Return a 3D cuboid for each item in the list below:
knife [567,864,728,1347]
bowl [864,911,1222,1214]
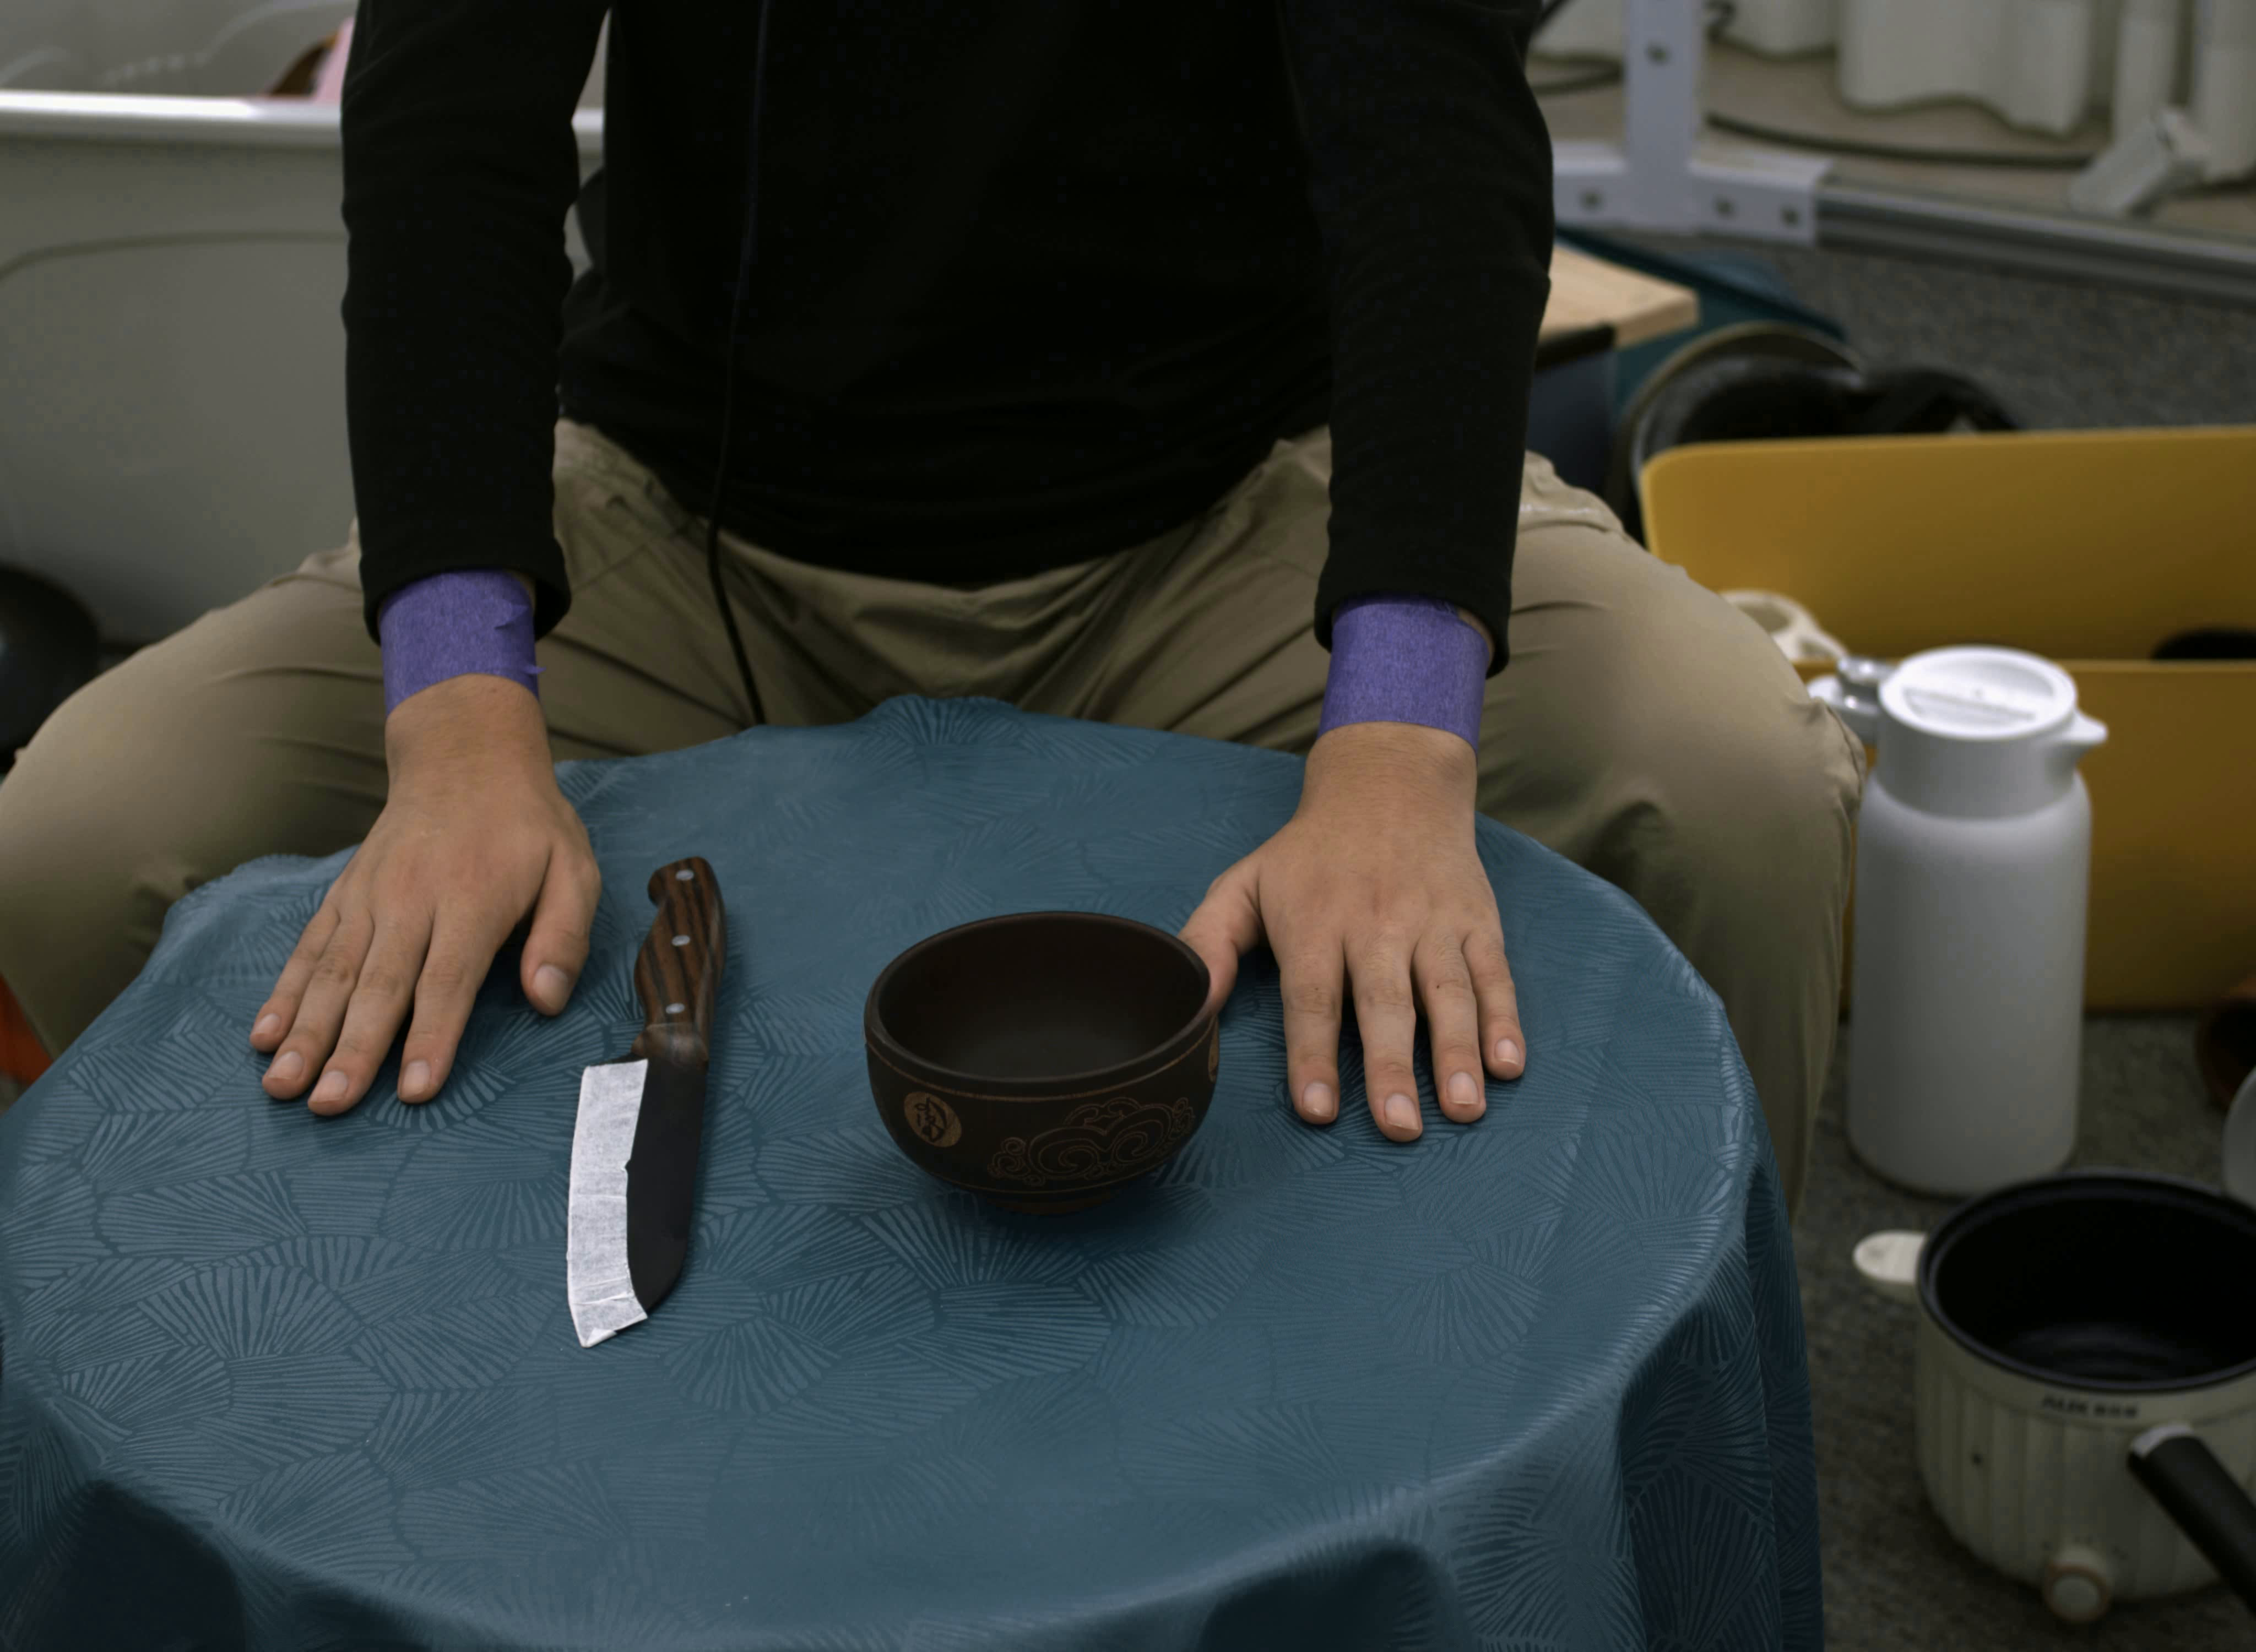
[{"bbox_3d":[-0.163,0.094,1.914,0.050,0.020,0.294,-6,29,5],"label":"knife"},{"bbox_3d":[-0.027,0.085,1.858,0.117,0.069,0.120,-3,26,2],"label":"bowl"}]
